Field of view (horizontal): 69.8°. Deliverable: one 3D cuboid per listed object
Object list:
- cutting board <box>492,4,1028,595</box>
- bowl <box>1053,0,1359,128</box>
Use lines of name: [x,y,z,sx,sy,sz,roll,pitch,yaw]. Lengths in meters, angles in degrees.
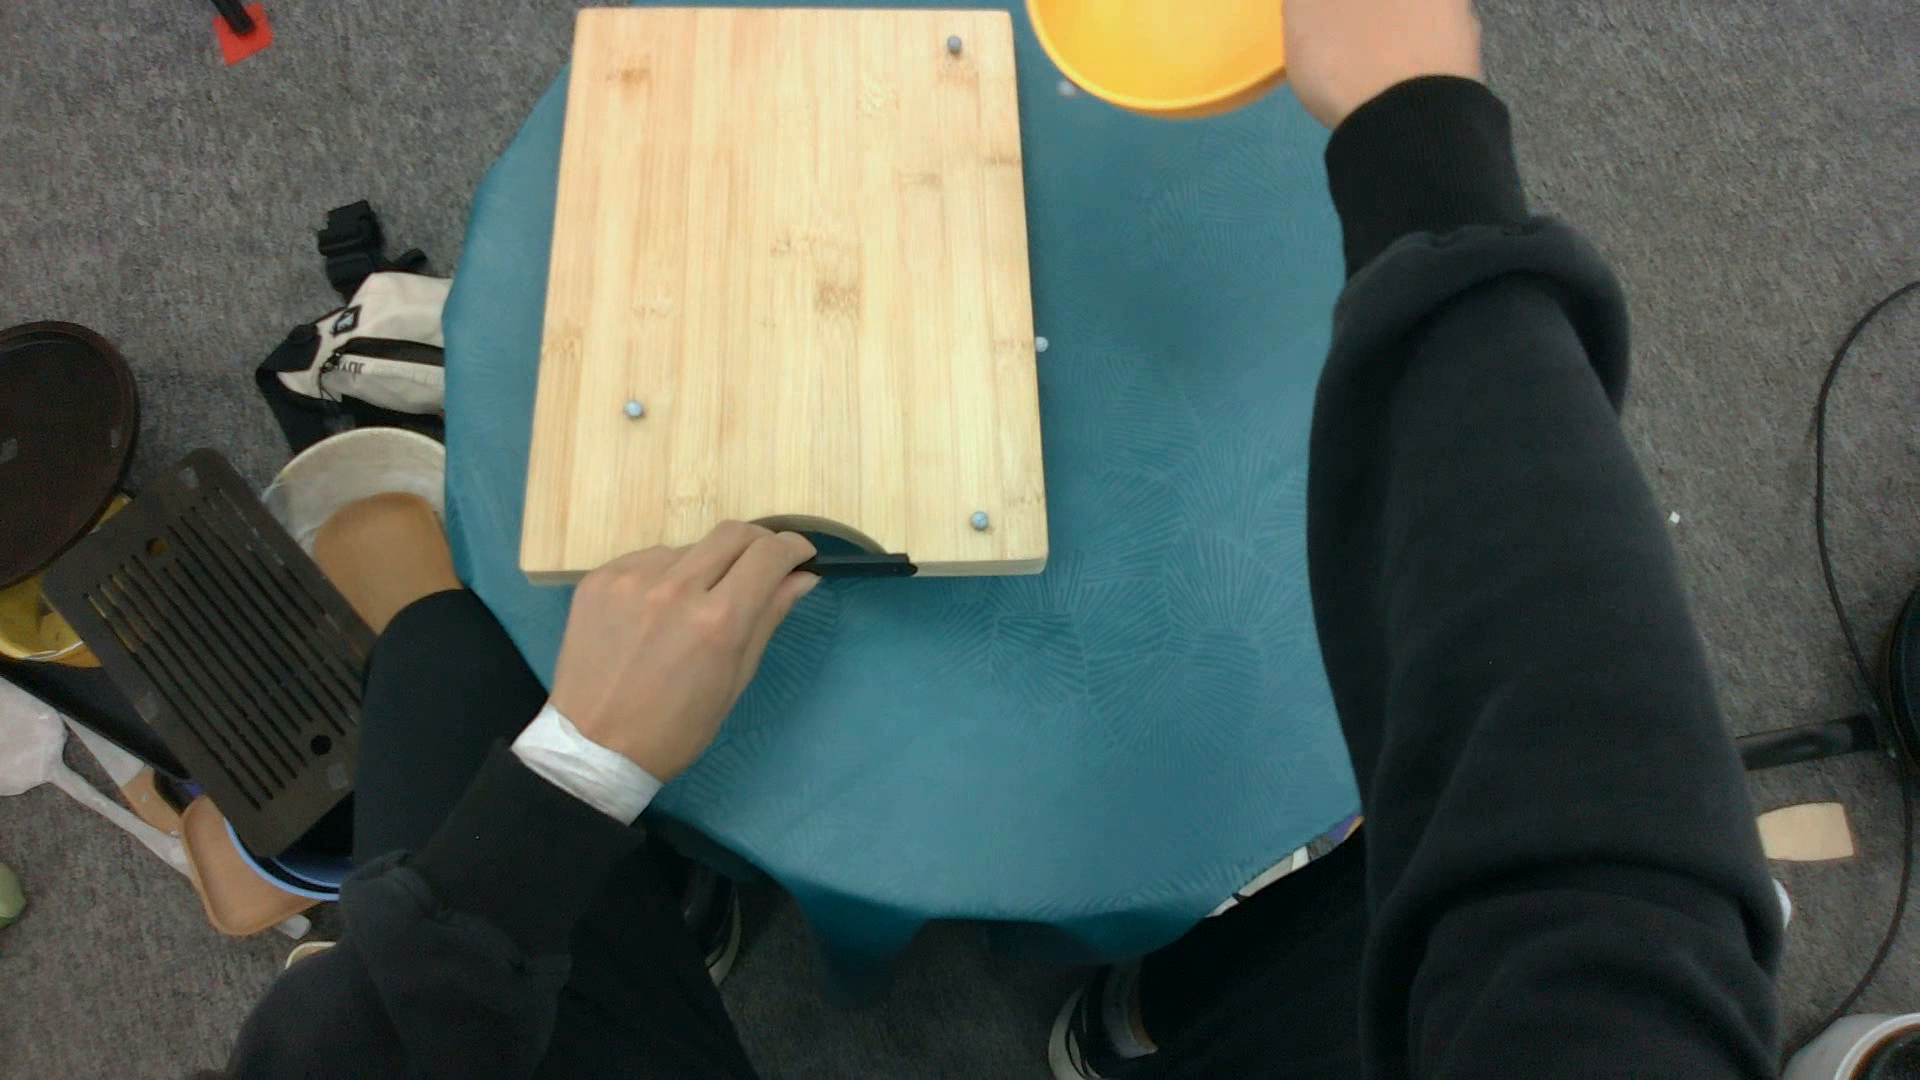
cutting board: [-0.098,-0.138,0.703,0.251,0.023,0.350,-3,66,-5]
bowl: [0.118,-0.245,0.616,0.145,0.060,0.145,-6,79,30]
